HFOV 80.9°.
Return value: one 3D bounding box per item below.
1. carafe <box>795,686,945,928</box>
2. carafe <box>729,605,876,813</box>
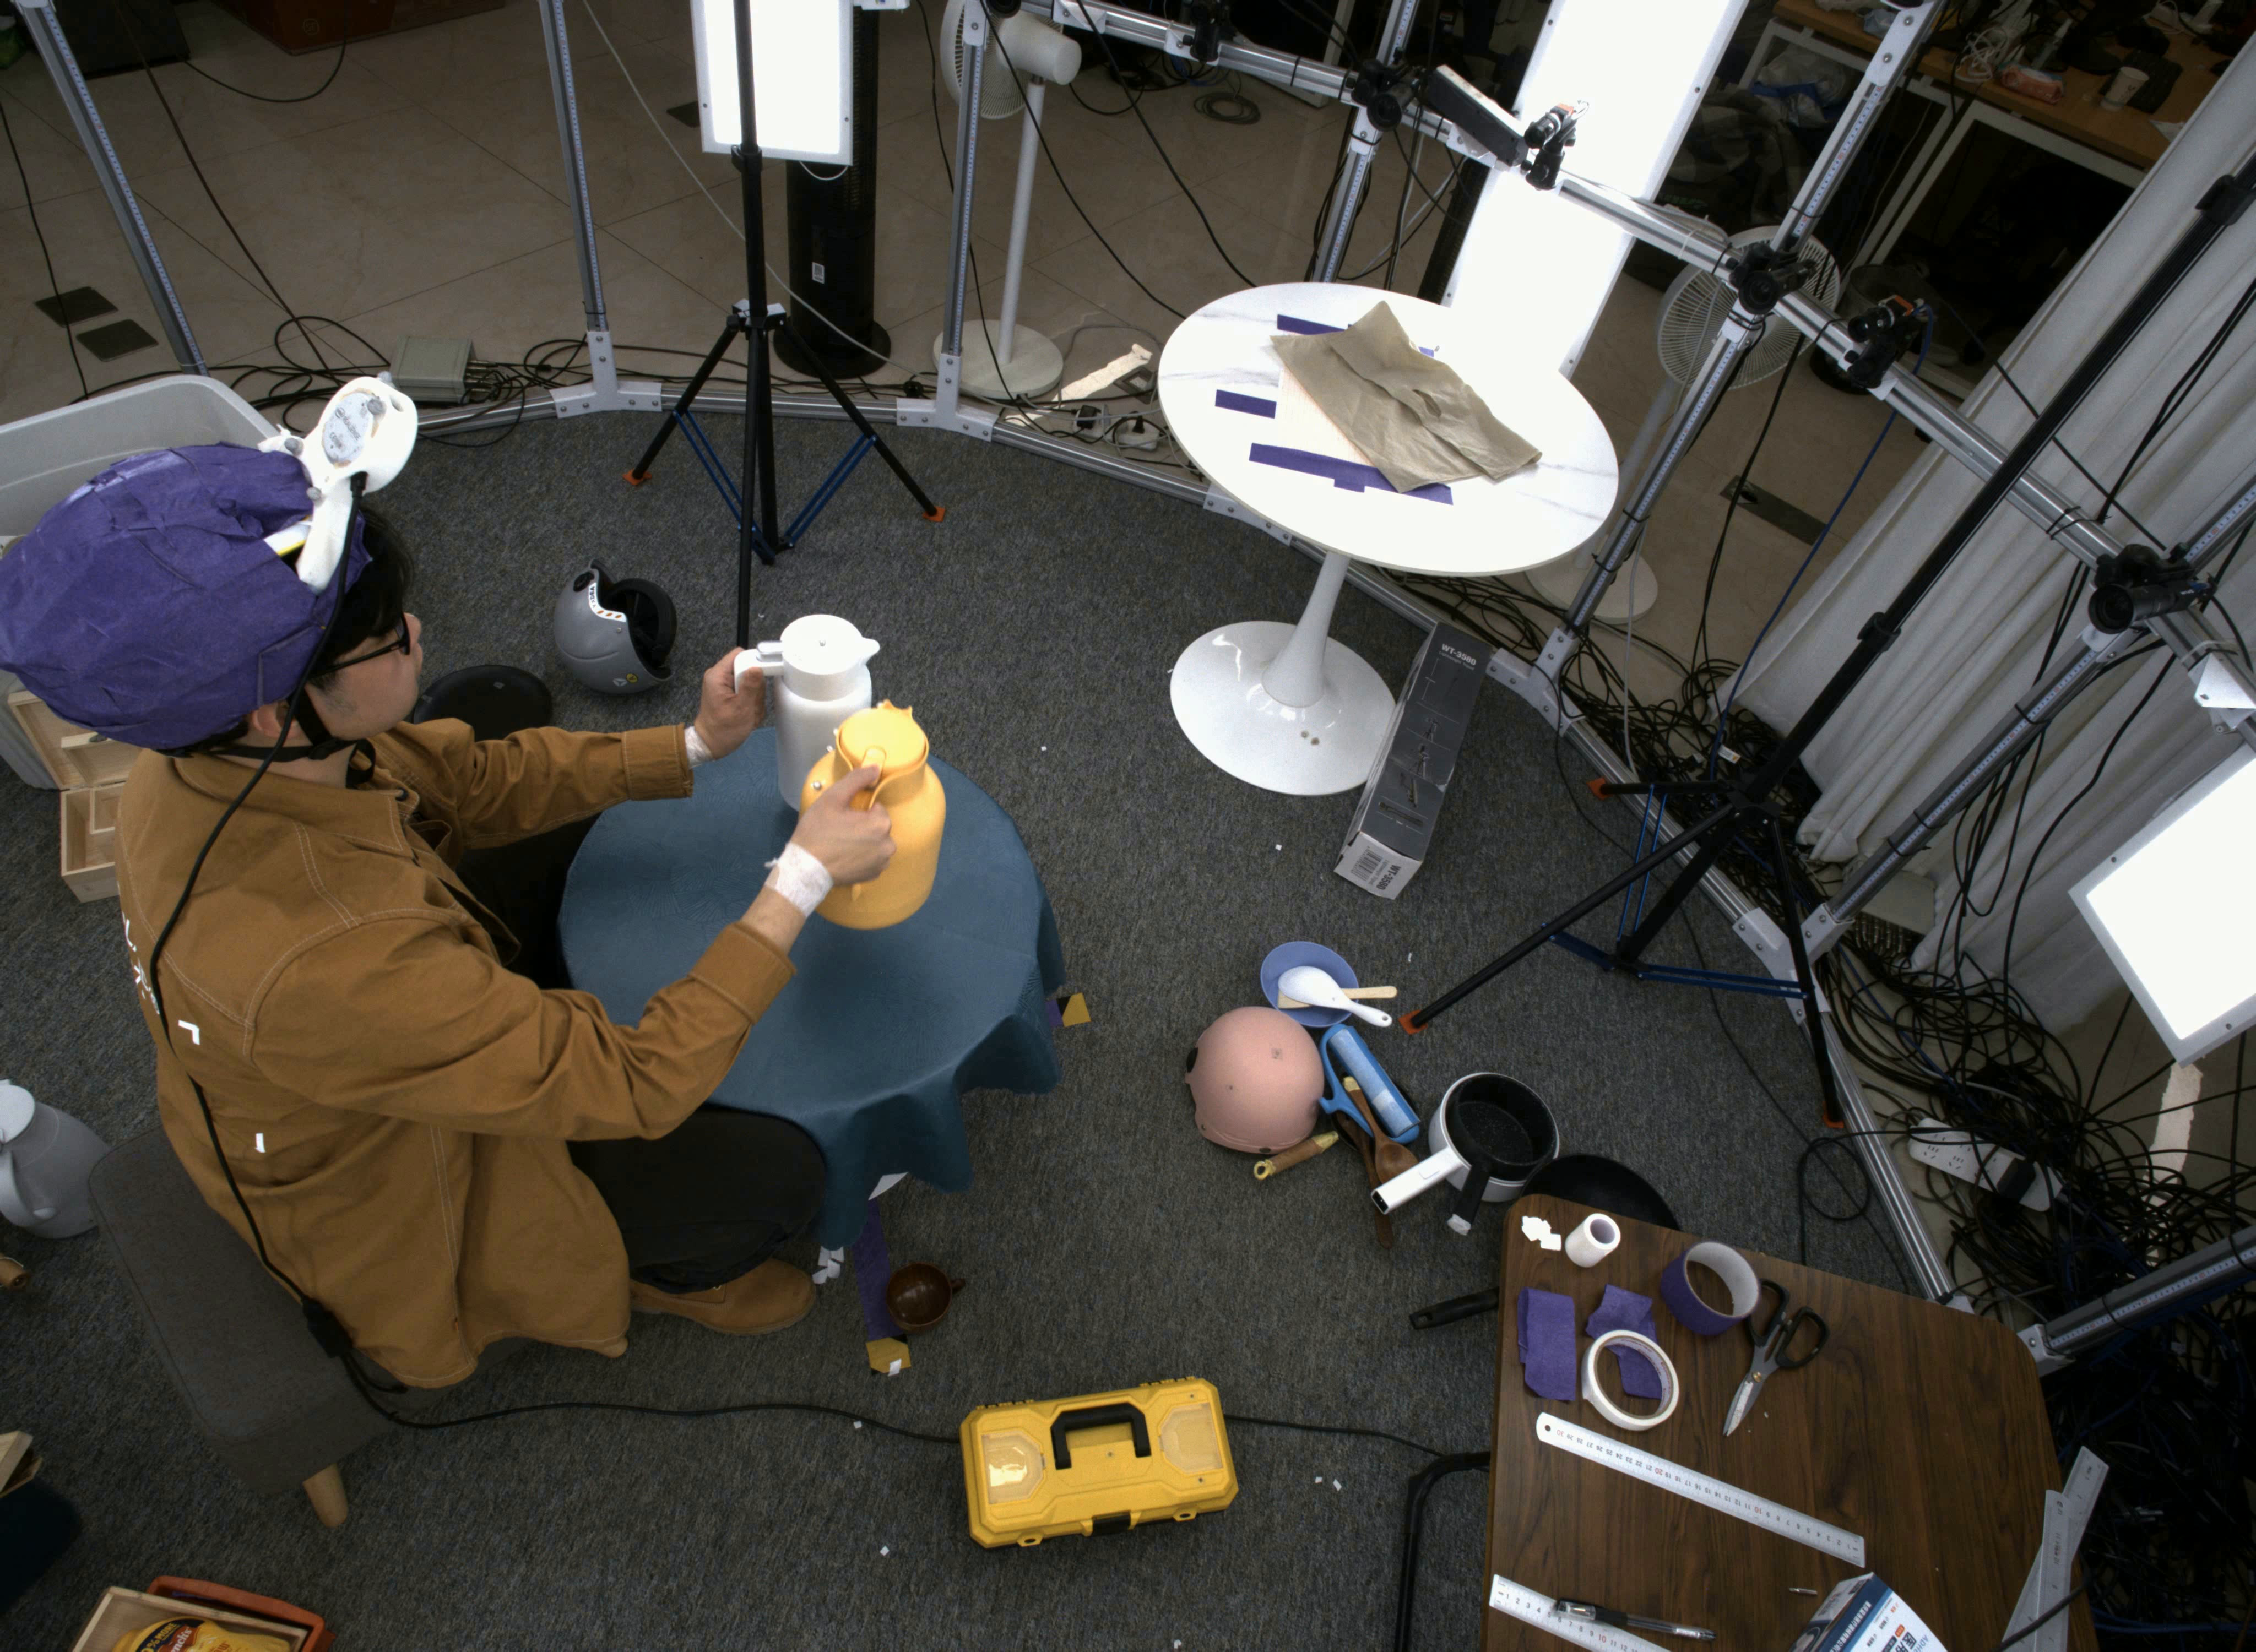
[{"bbox_3d":[-0.288,-0.010,1.418,0.162,0.267,0.199,14,44,-1],"label":"carafe"},{"bbox_3d":[-0.398,-0.135,1.597,0.173,0.274,0.121,-8,56,-17],"label":"carafe"}]
